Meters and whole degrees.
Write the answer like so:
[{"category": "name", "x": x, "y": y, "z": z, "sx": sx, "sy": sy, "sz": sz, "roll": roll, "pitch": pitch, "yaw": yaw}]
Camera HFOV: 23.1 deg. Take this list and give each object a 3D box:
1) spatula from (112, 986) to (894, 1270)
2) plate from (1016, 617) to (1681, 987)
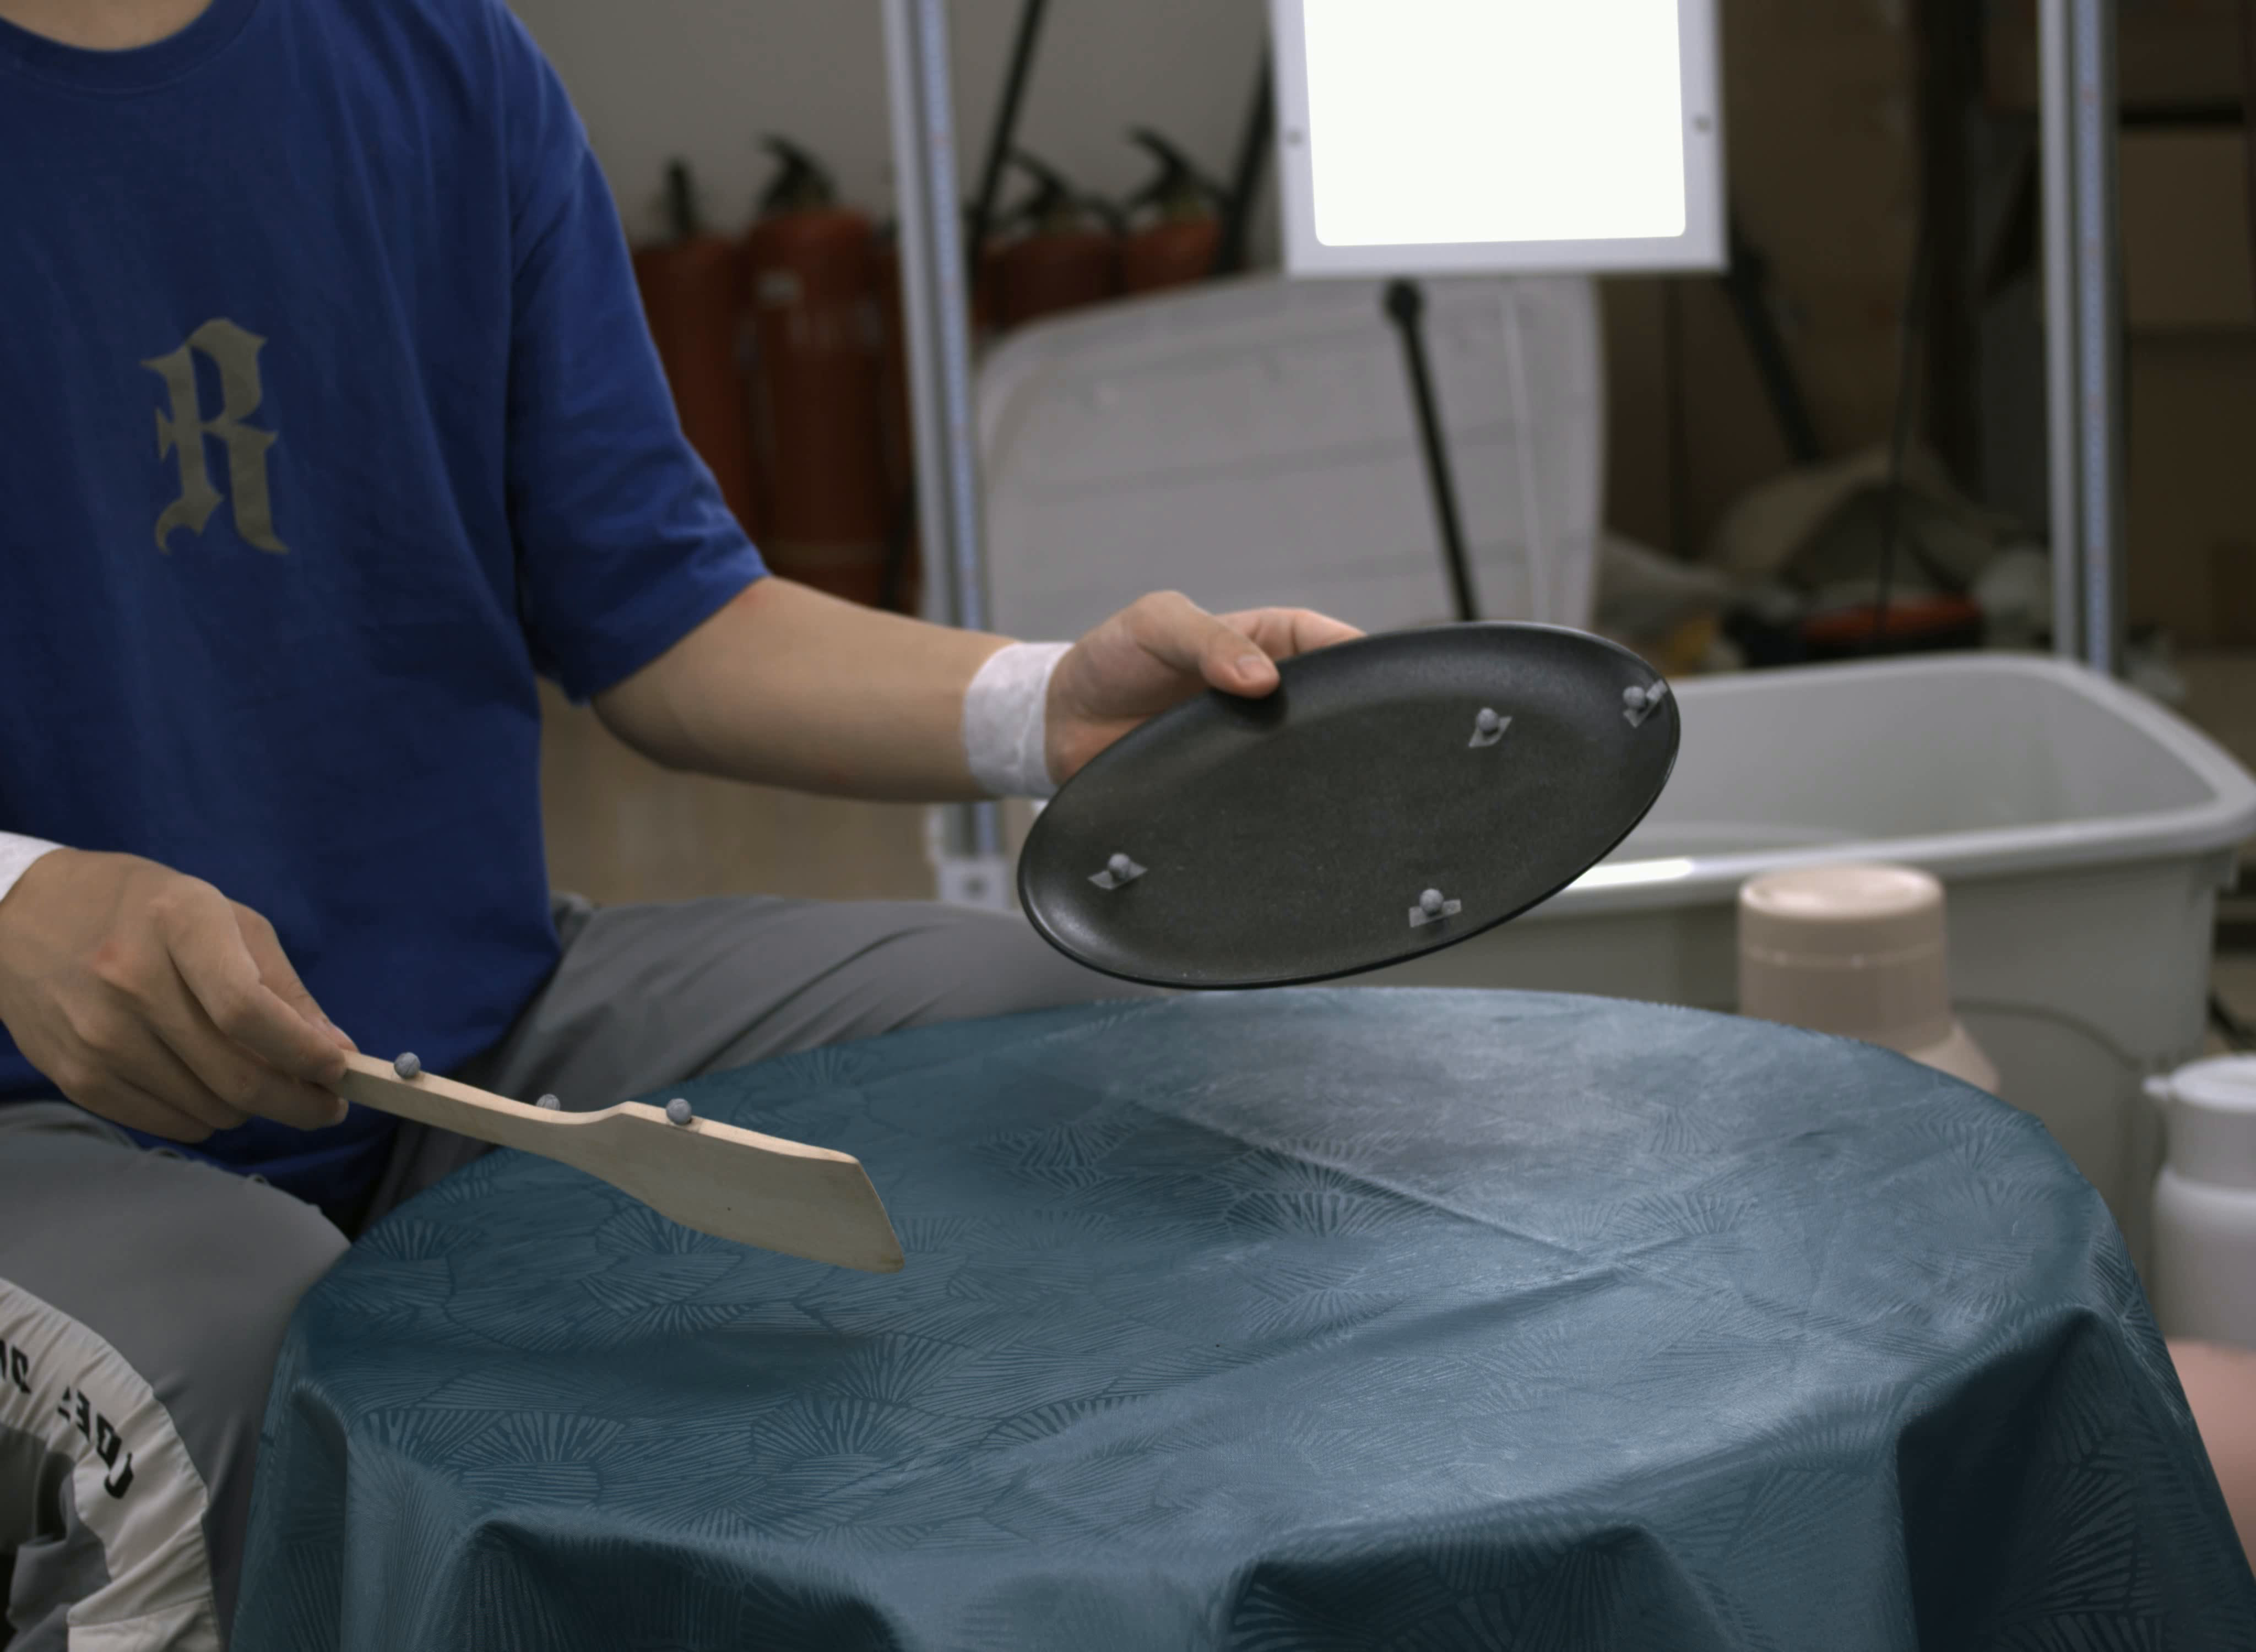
[{"category": "spatula", "x": -0.212, "y": 0.093, "z": 1.808, "sx": 0.297, "sy": 0.072, "sz": 0.010, "roll": 14, "pitch": 62, "yaw": 25}, {"category": "plate", "x": 0.079, "y": -0.004, "z": 1.946, "sx": 0.245, "sy": 0.023, "sz": 0.244, "roll": -16, "pitch": 28, "yaw": 7}]
